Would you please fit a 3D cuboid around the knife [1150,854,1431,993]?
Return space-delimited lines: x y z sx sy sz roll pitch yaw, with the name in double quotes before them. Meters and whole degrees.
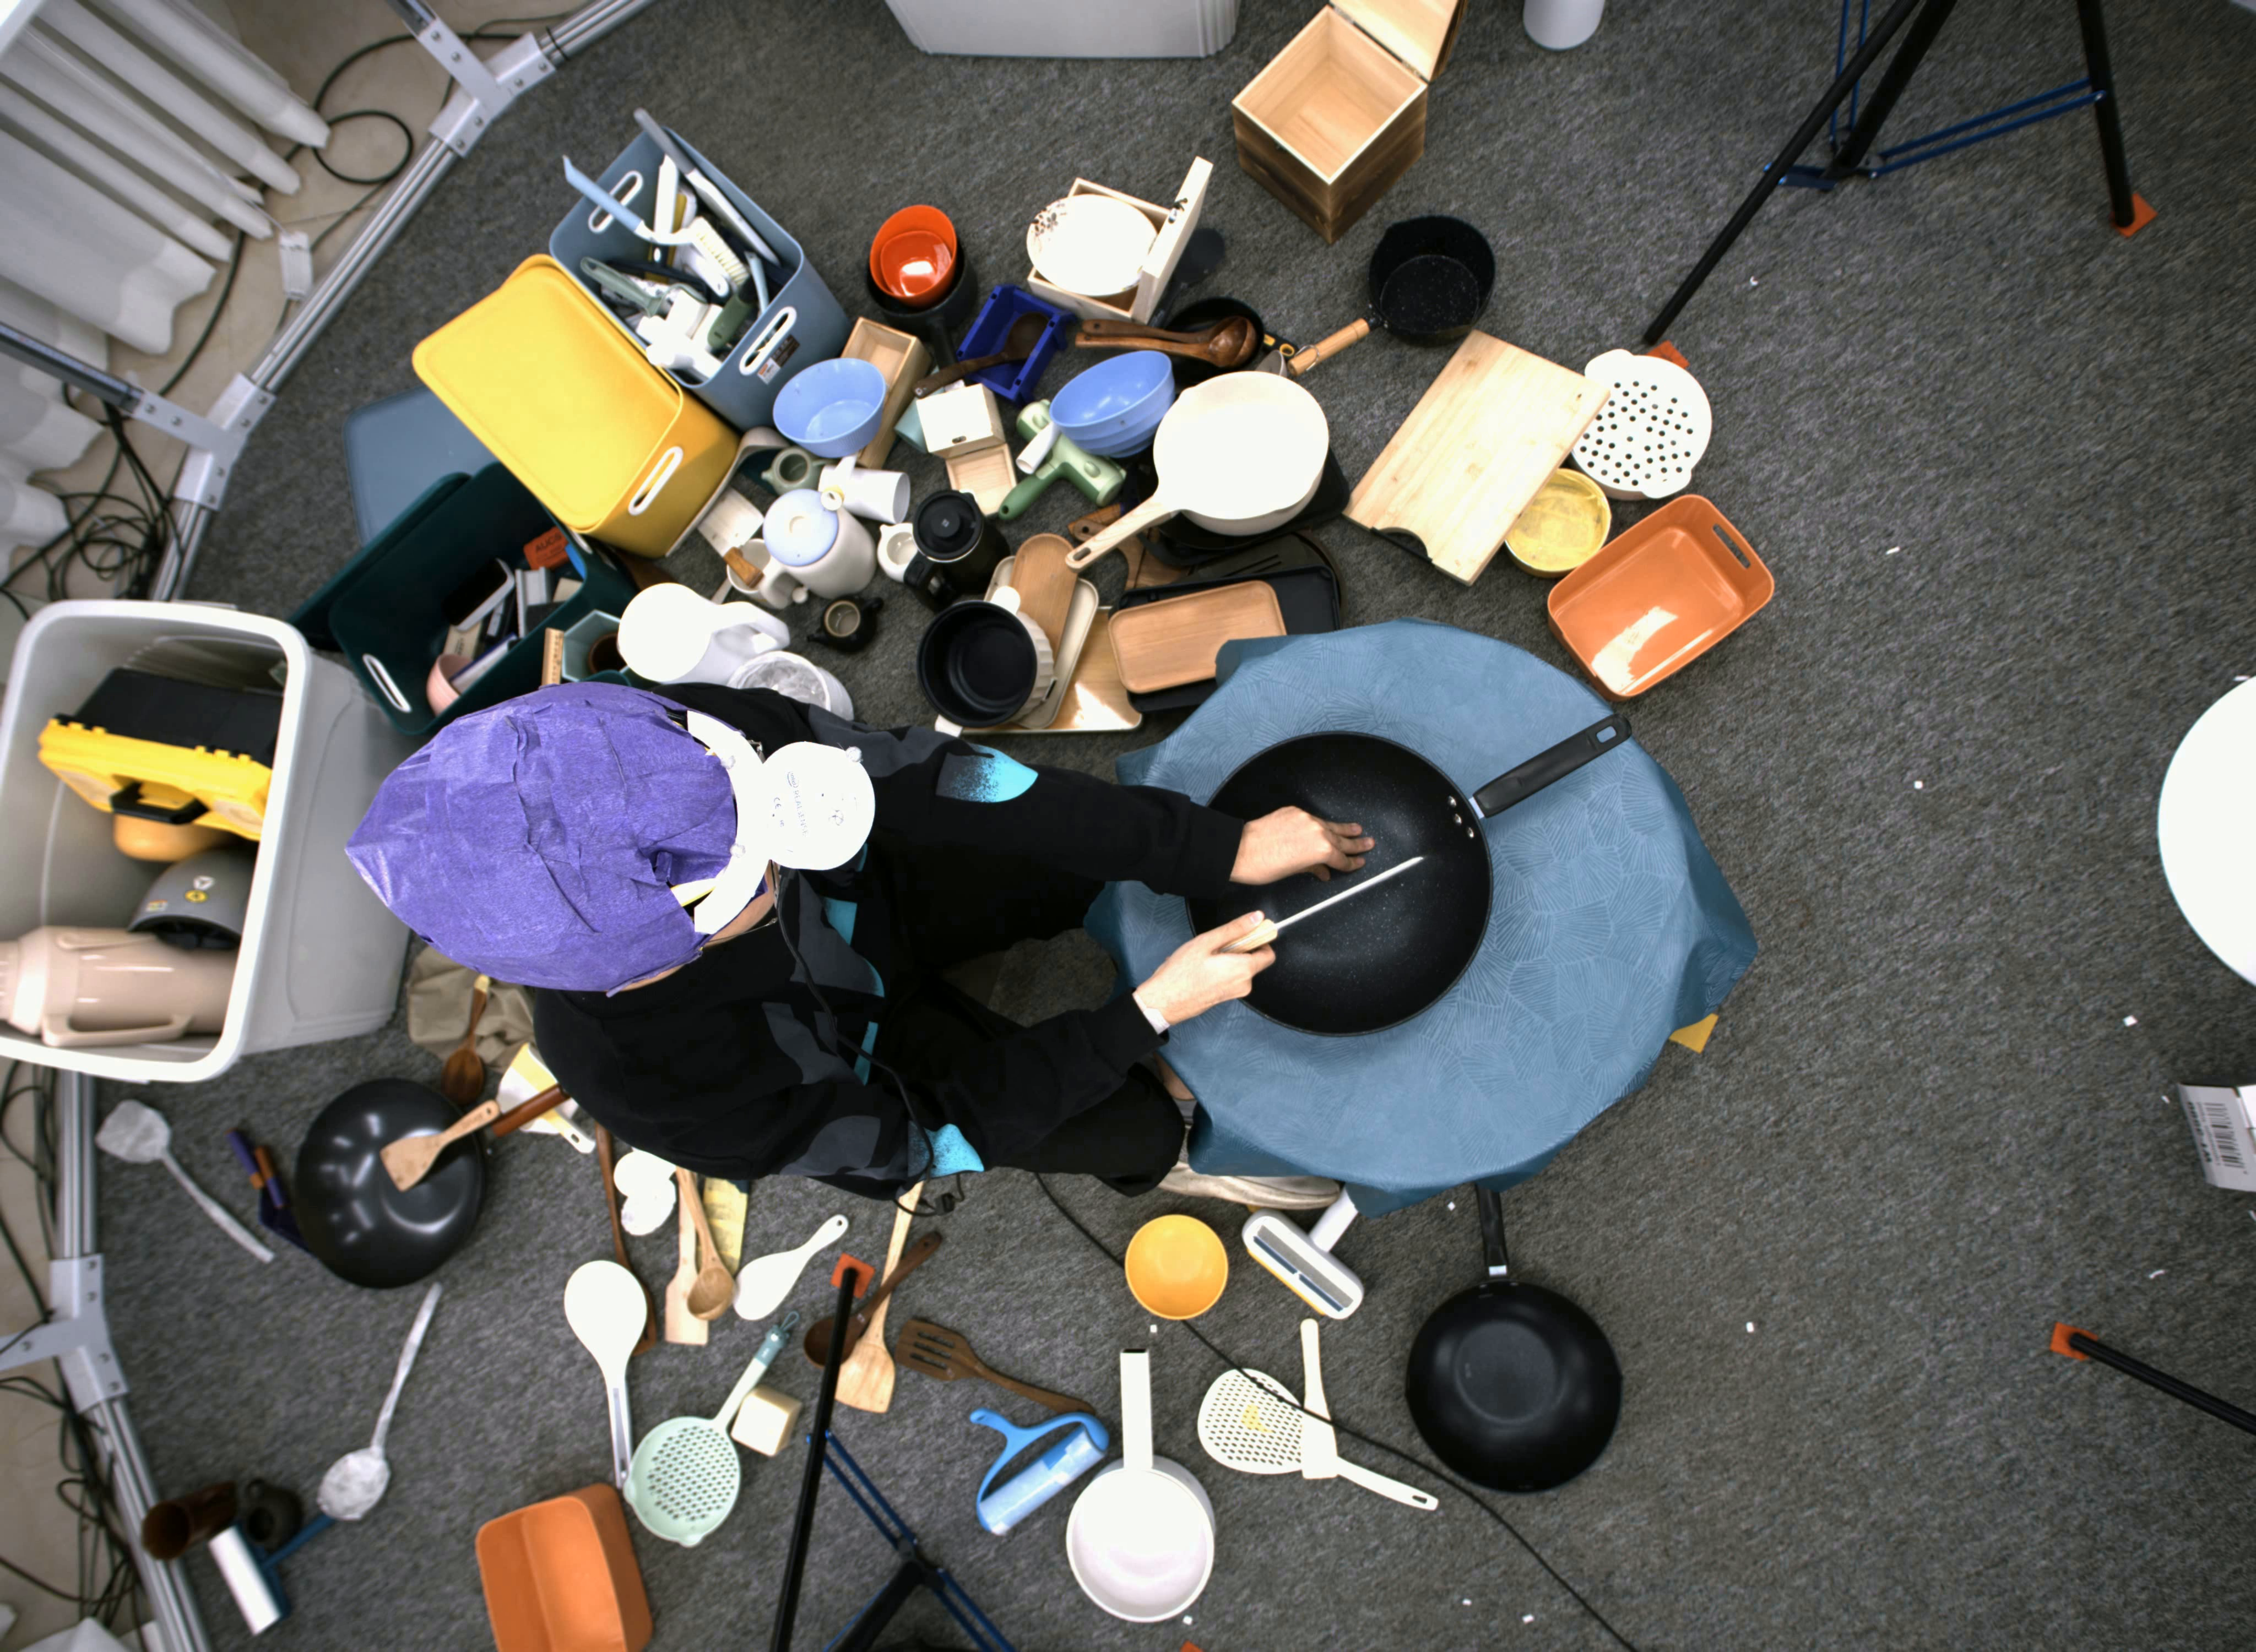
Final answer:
"knife" 0.167 0.092 1.384 0.315 0.115 0.021 -24 82 -3

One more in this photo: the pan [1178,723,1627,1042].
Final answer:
"pan" 0.281 0.023 1.407 0.479 0.111 0.308 -29 84 8
